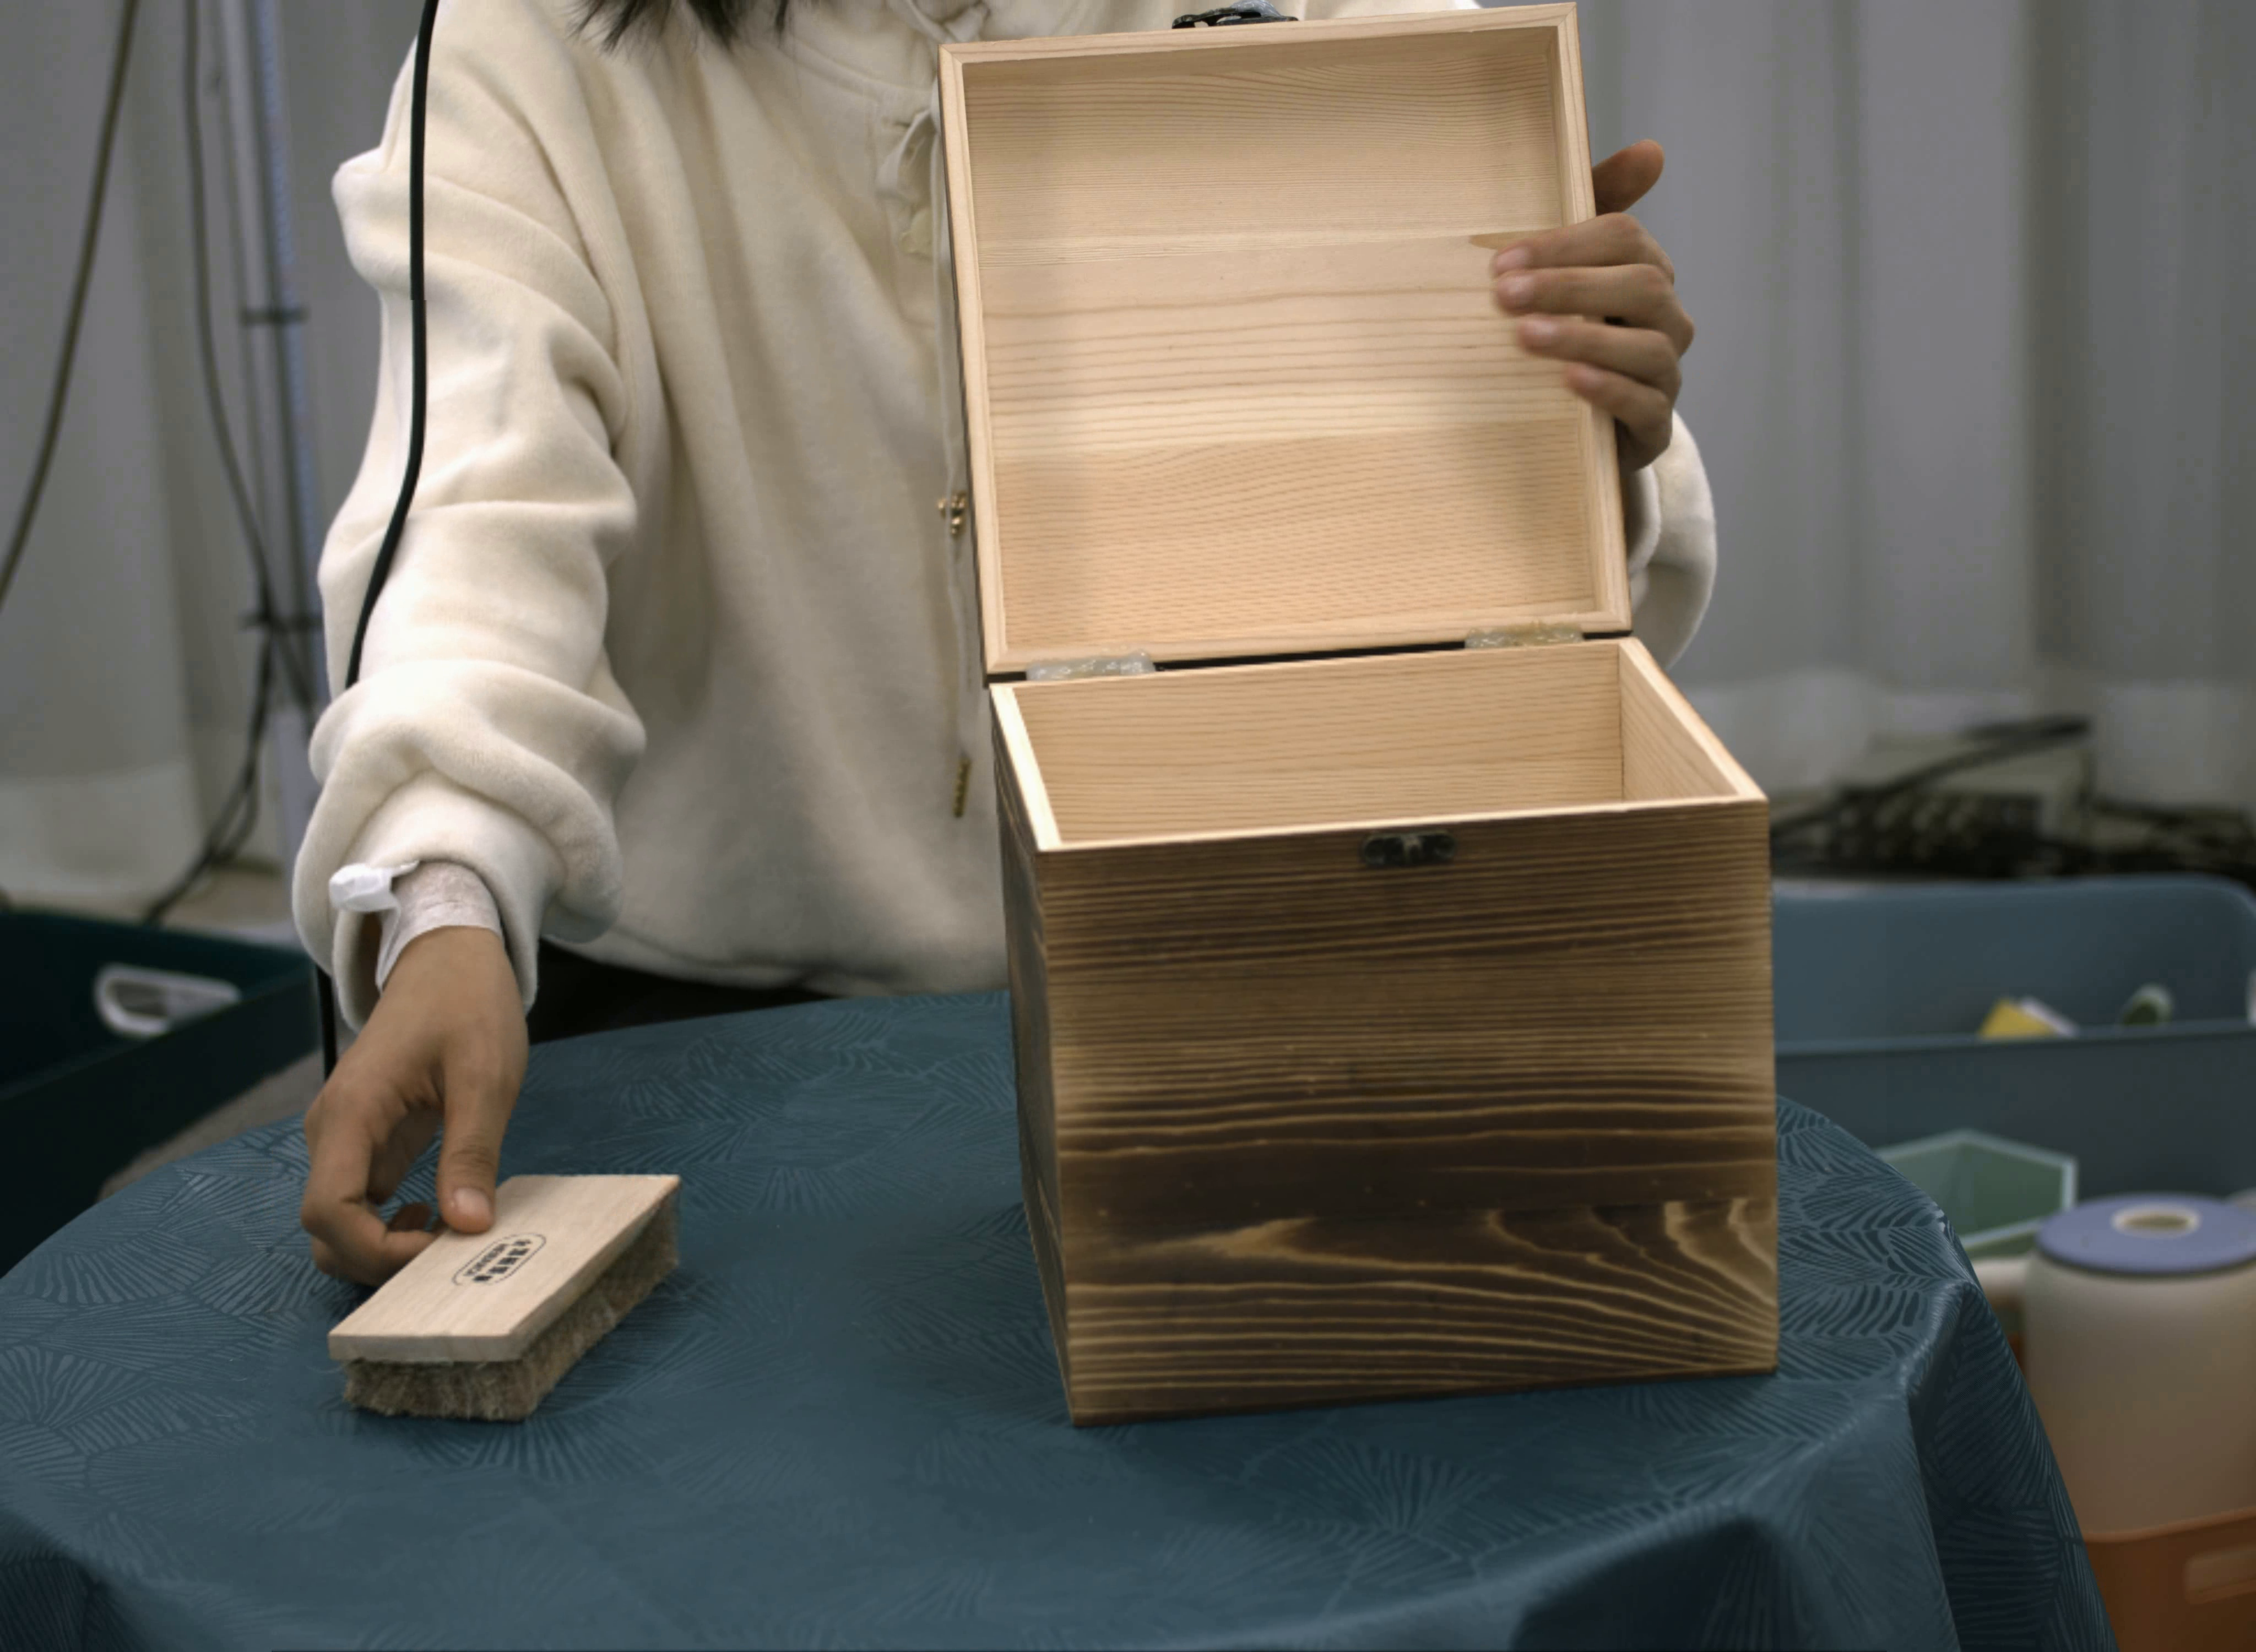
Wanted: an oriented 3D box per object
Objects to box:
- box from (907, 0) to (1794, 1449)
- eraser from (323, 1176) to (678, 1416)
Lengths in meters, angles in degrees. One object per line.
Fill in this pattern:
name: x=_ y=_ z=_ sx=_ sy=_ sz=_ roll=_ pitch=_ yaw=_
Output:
box: x=0.058 y=-0.052 z=1.626 sx=0.208 sy=0.374 sz=0.324 roll=-5 pitch=14 yaw=-4
eraser: x=-0.182 y=0.138 z=1.608 sx=0.057 sy=0.029 sz=0.140 roll=-2 pitch=13 yaw=17
